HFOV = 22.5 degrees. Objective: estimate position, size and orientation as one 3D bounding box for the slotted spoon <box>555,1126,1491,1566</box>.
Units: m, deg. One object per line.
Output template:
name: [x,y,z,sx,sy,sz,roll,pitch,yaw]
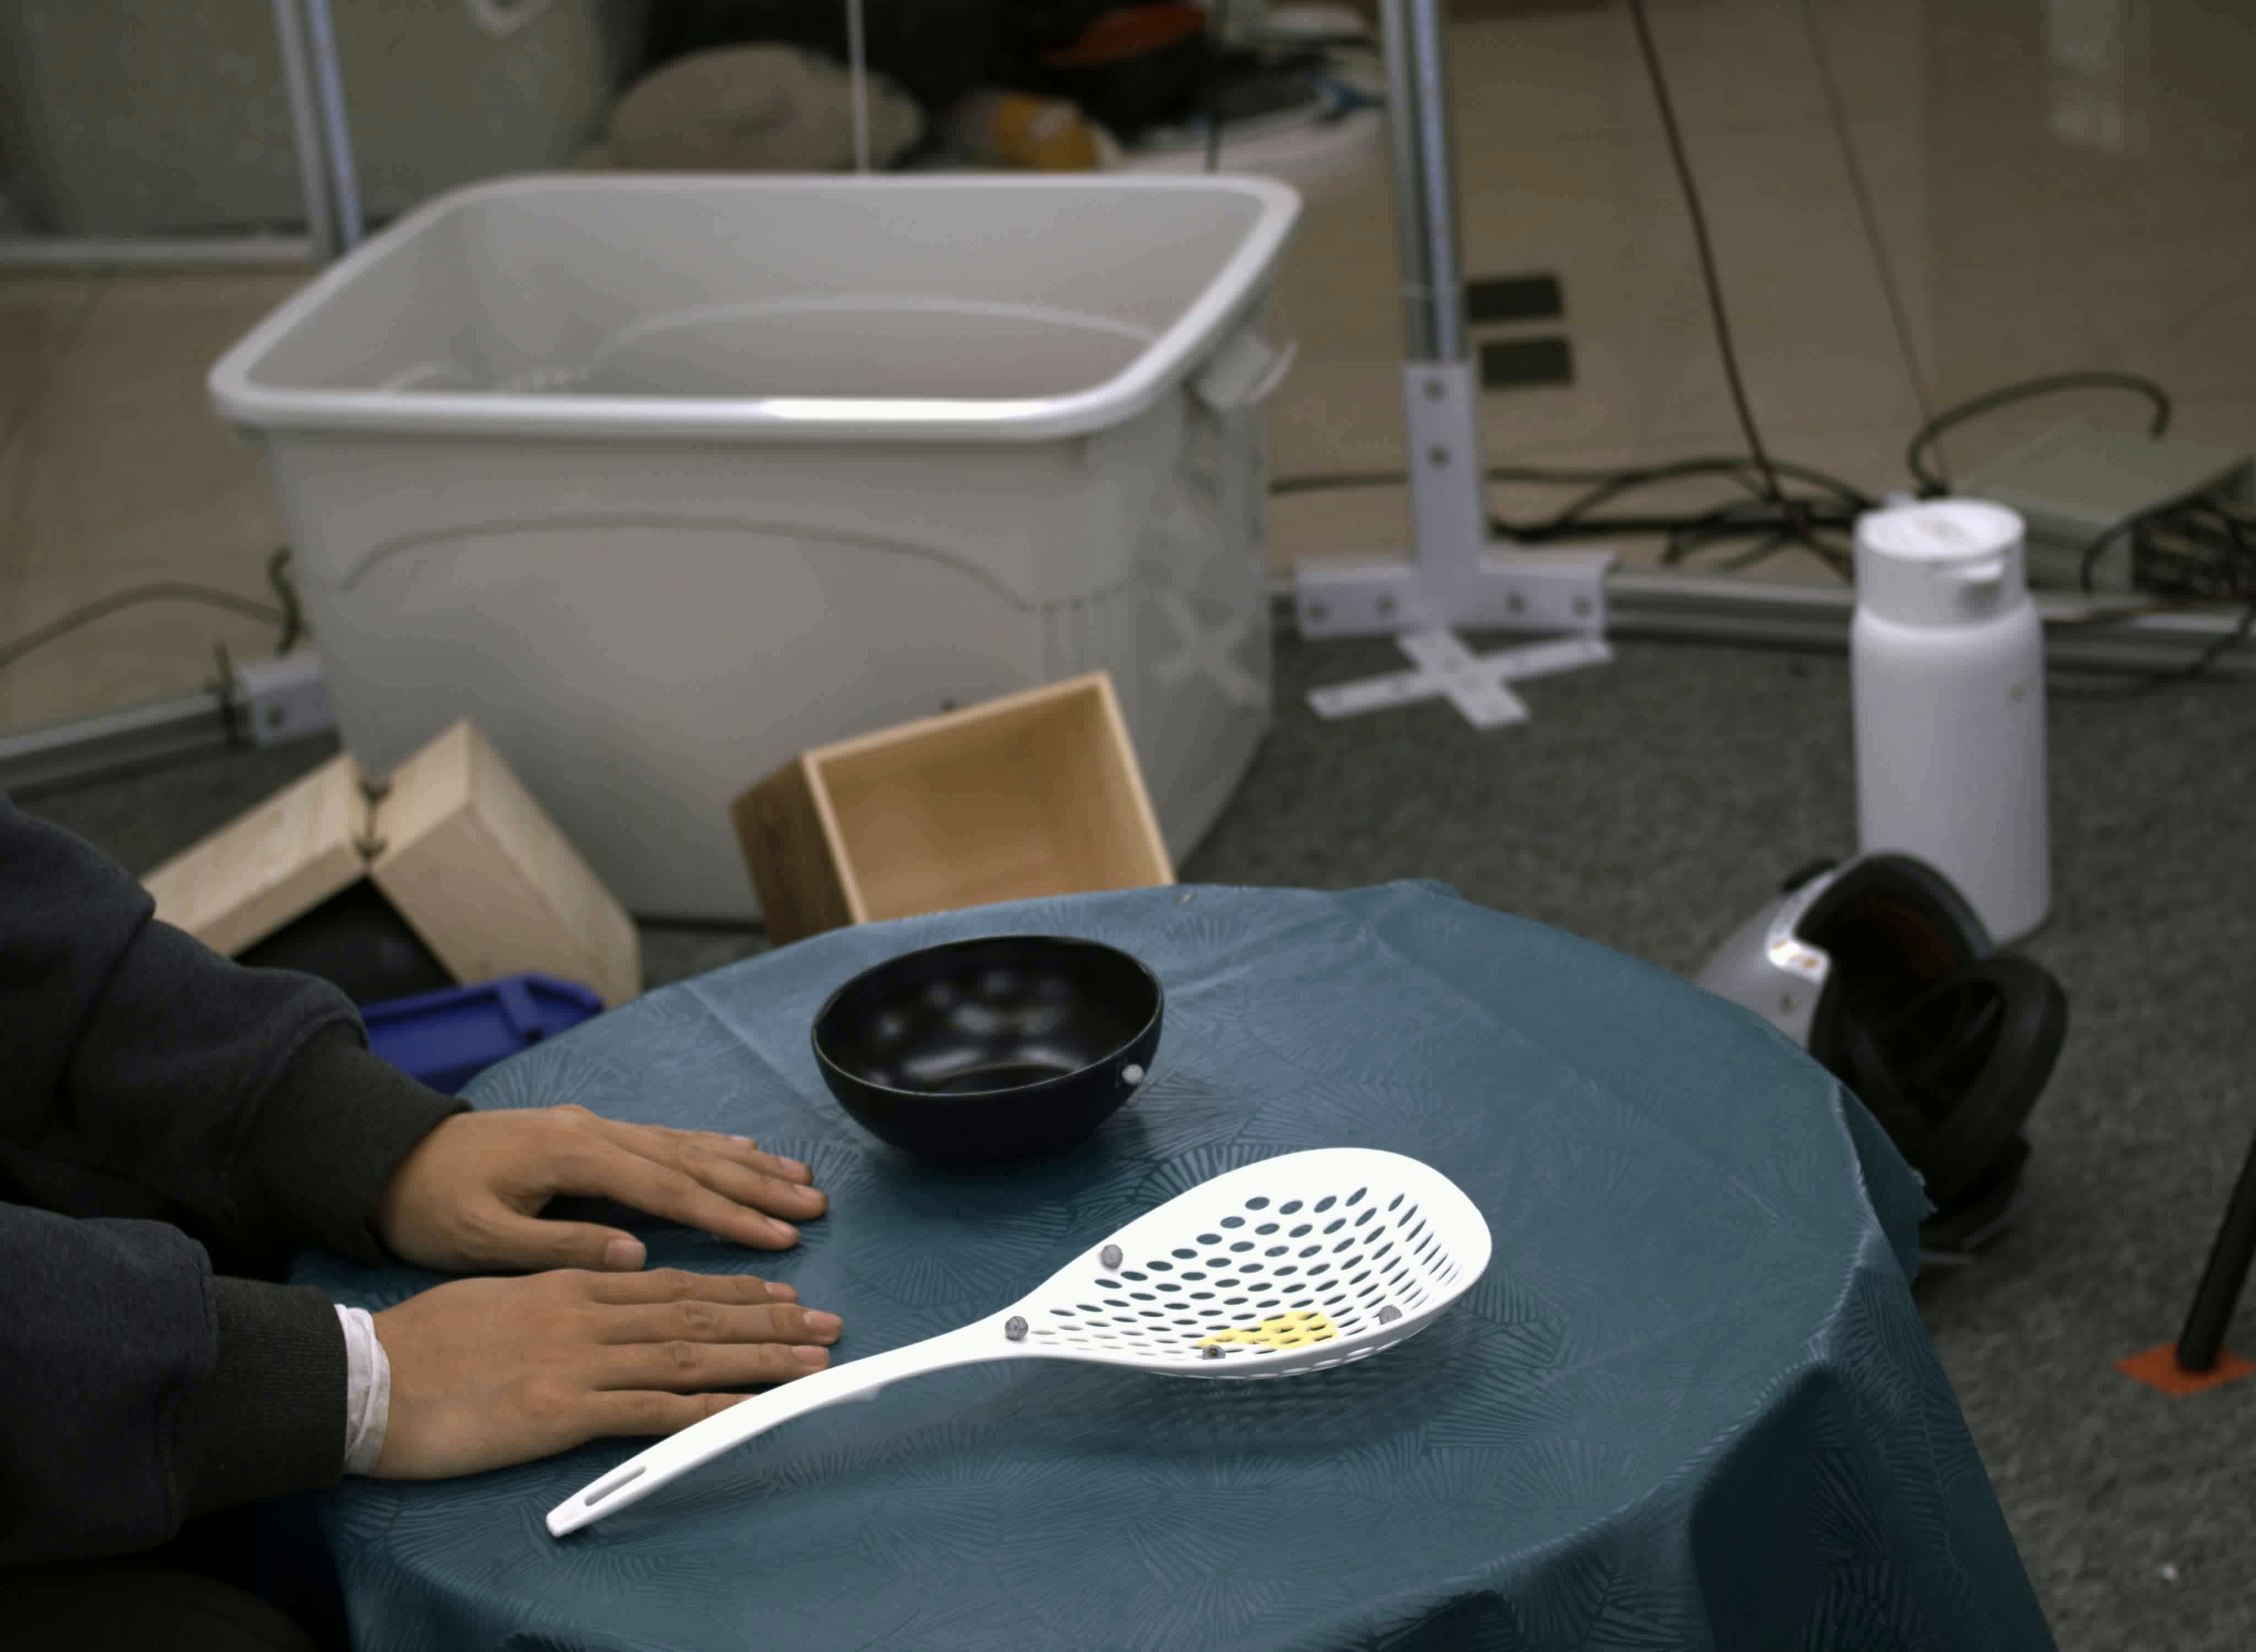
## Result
slotted spoon: [-0.039,0.189,2.001,0.347,0.051,0.135,-14,30,-14]
